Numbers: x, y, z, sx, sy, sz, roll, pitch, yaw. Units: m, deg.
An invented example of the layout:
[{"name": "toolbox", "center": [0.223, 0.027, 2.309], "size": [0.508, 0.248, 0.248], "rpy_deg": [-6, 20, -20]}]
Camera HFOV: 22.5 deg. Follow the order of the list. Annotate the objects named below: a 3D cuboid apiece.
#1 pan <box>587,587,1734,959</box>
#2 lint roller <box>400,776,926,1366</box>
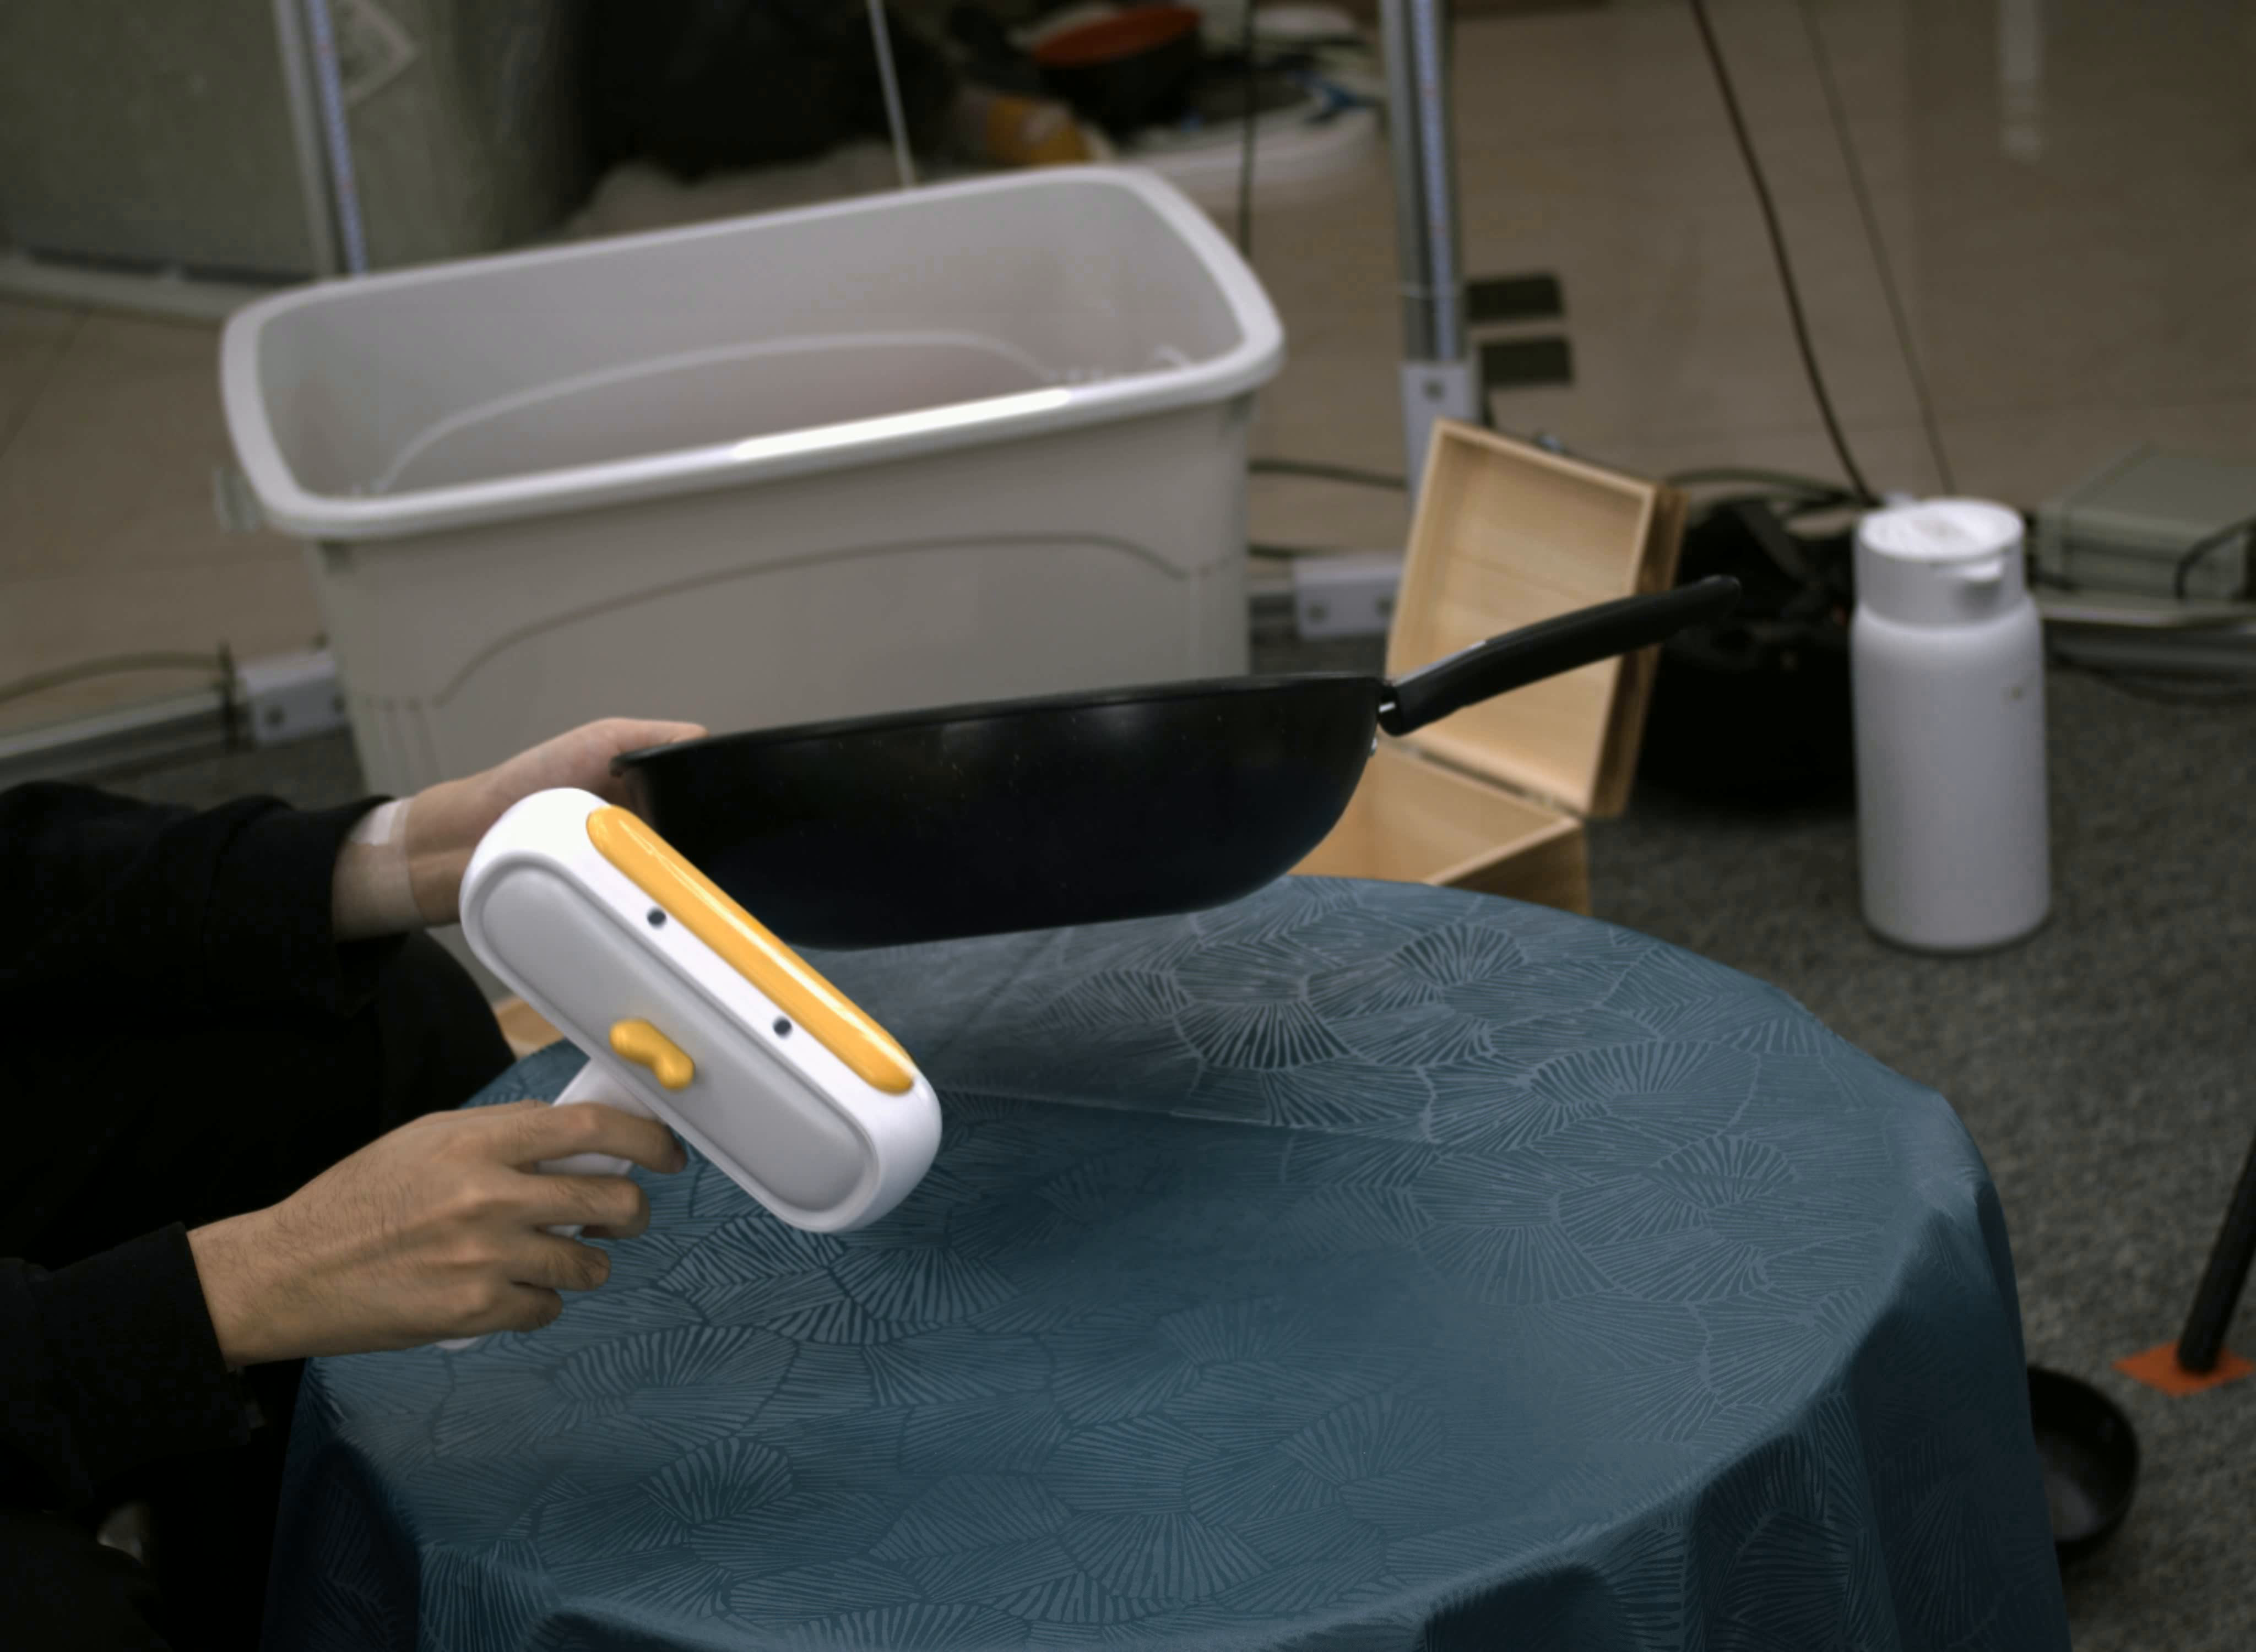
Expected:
[{"name": "pan", "center": [0.025, -0.019, 2.228], "size": [0.476, 0.112, 0.310], "rpy_deg": [-6, 0, -19]}, {"name": "lint roller", "center": [-0.189, 0.106, 1.986], "size": [0.193, 0.194, 0.073], "rpy_deg": [35, 23, -1]}]
